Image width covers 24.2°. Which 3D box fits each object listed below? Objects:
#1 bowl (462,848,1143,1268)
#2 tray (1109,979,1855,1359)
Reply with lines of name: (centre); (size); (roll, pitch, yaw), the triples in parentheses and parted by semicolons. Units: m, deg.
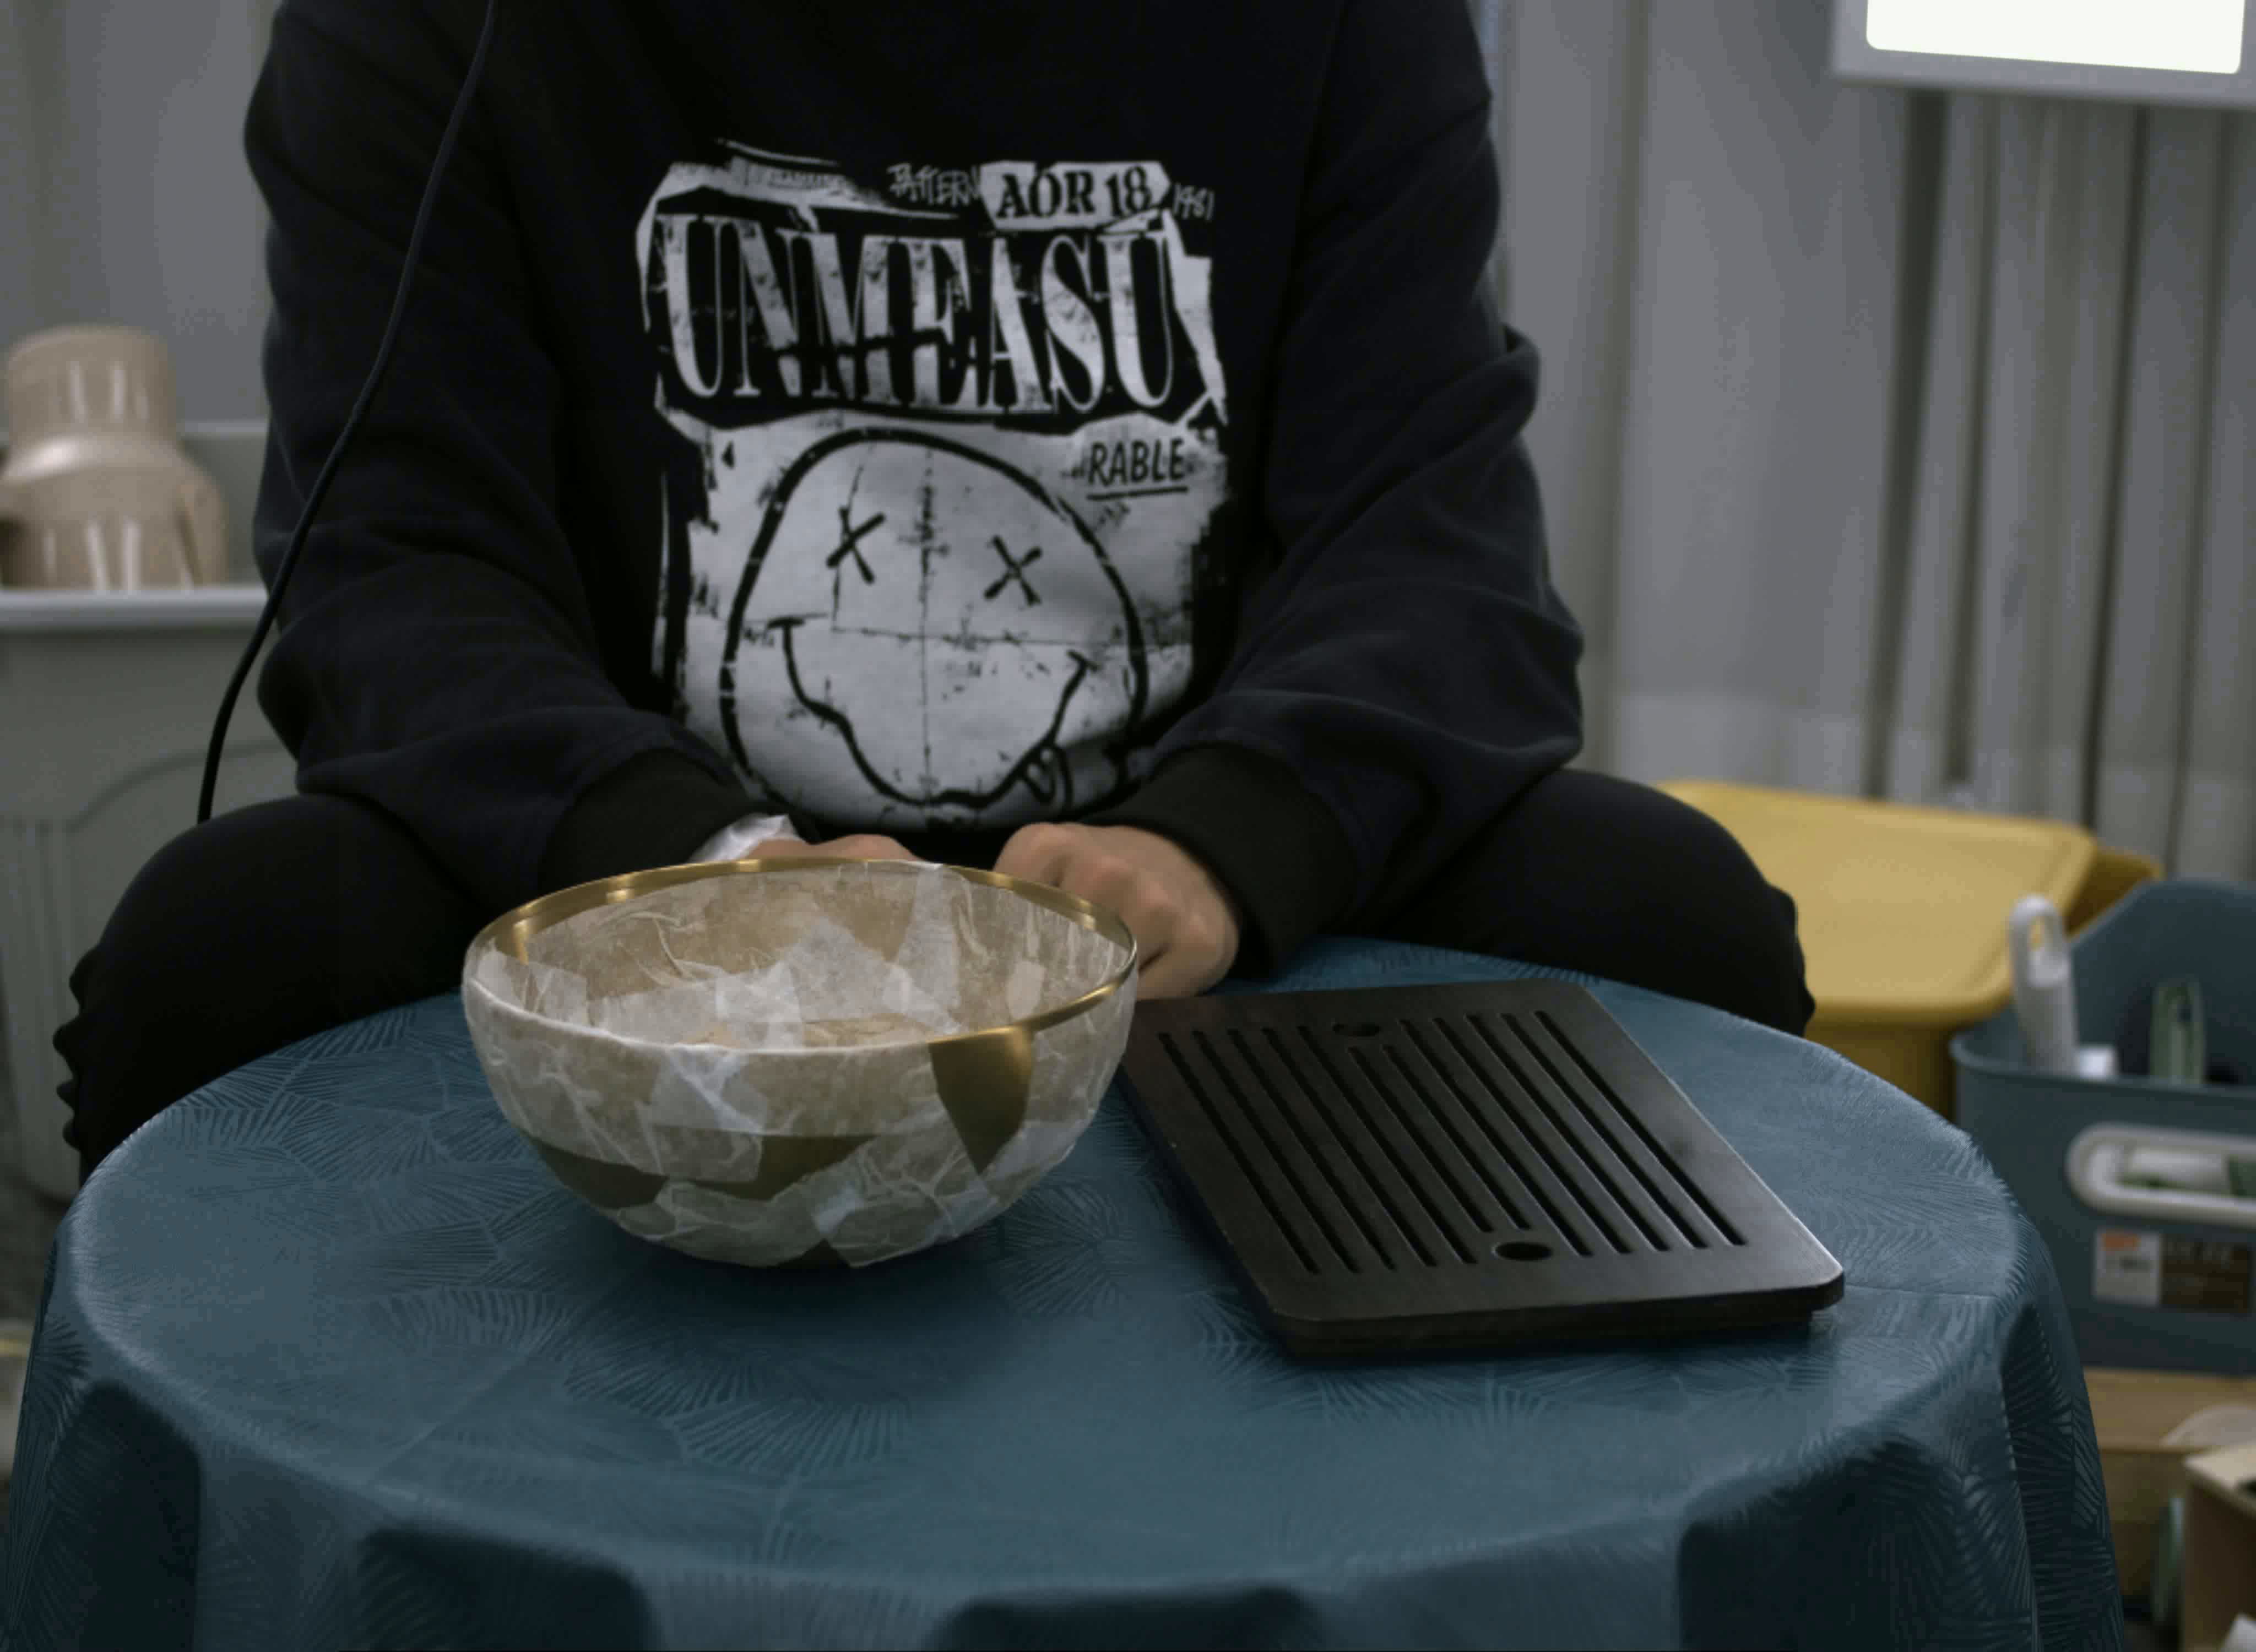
bowl: (-0.093, 0.077, 1.576); (0.214, 0.095, 0.213); (-1, 16, 1)
tray: (0.100, 0.103, 1.633); (0.170, 0.019, 0.303); (-2, 16, -11)
